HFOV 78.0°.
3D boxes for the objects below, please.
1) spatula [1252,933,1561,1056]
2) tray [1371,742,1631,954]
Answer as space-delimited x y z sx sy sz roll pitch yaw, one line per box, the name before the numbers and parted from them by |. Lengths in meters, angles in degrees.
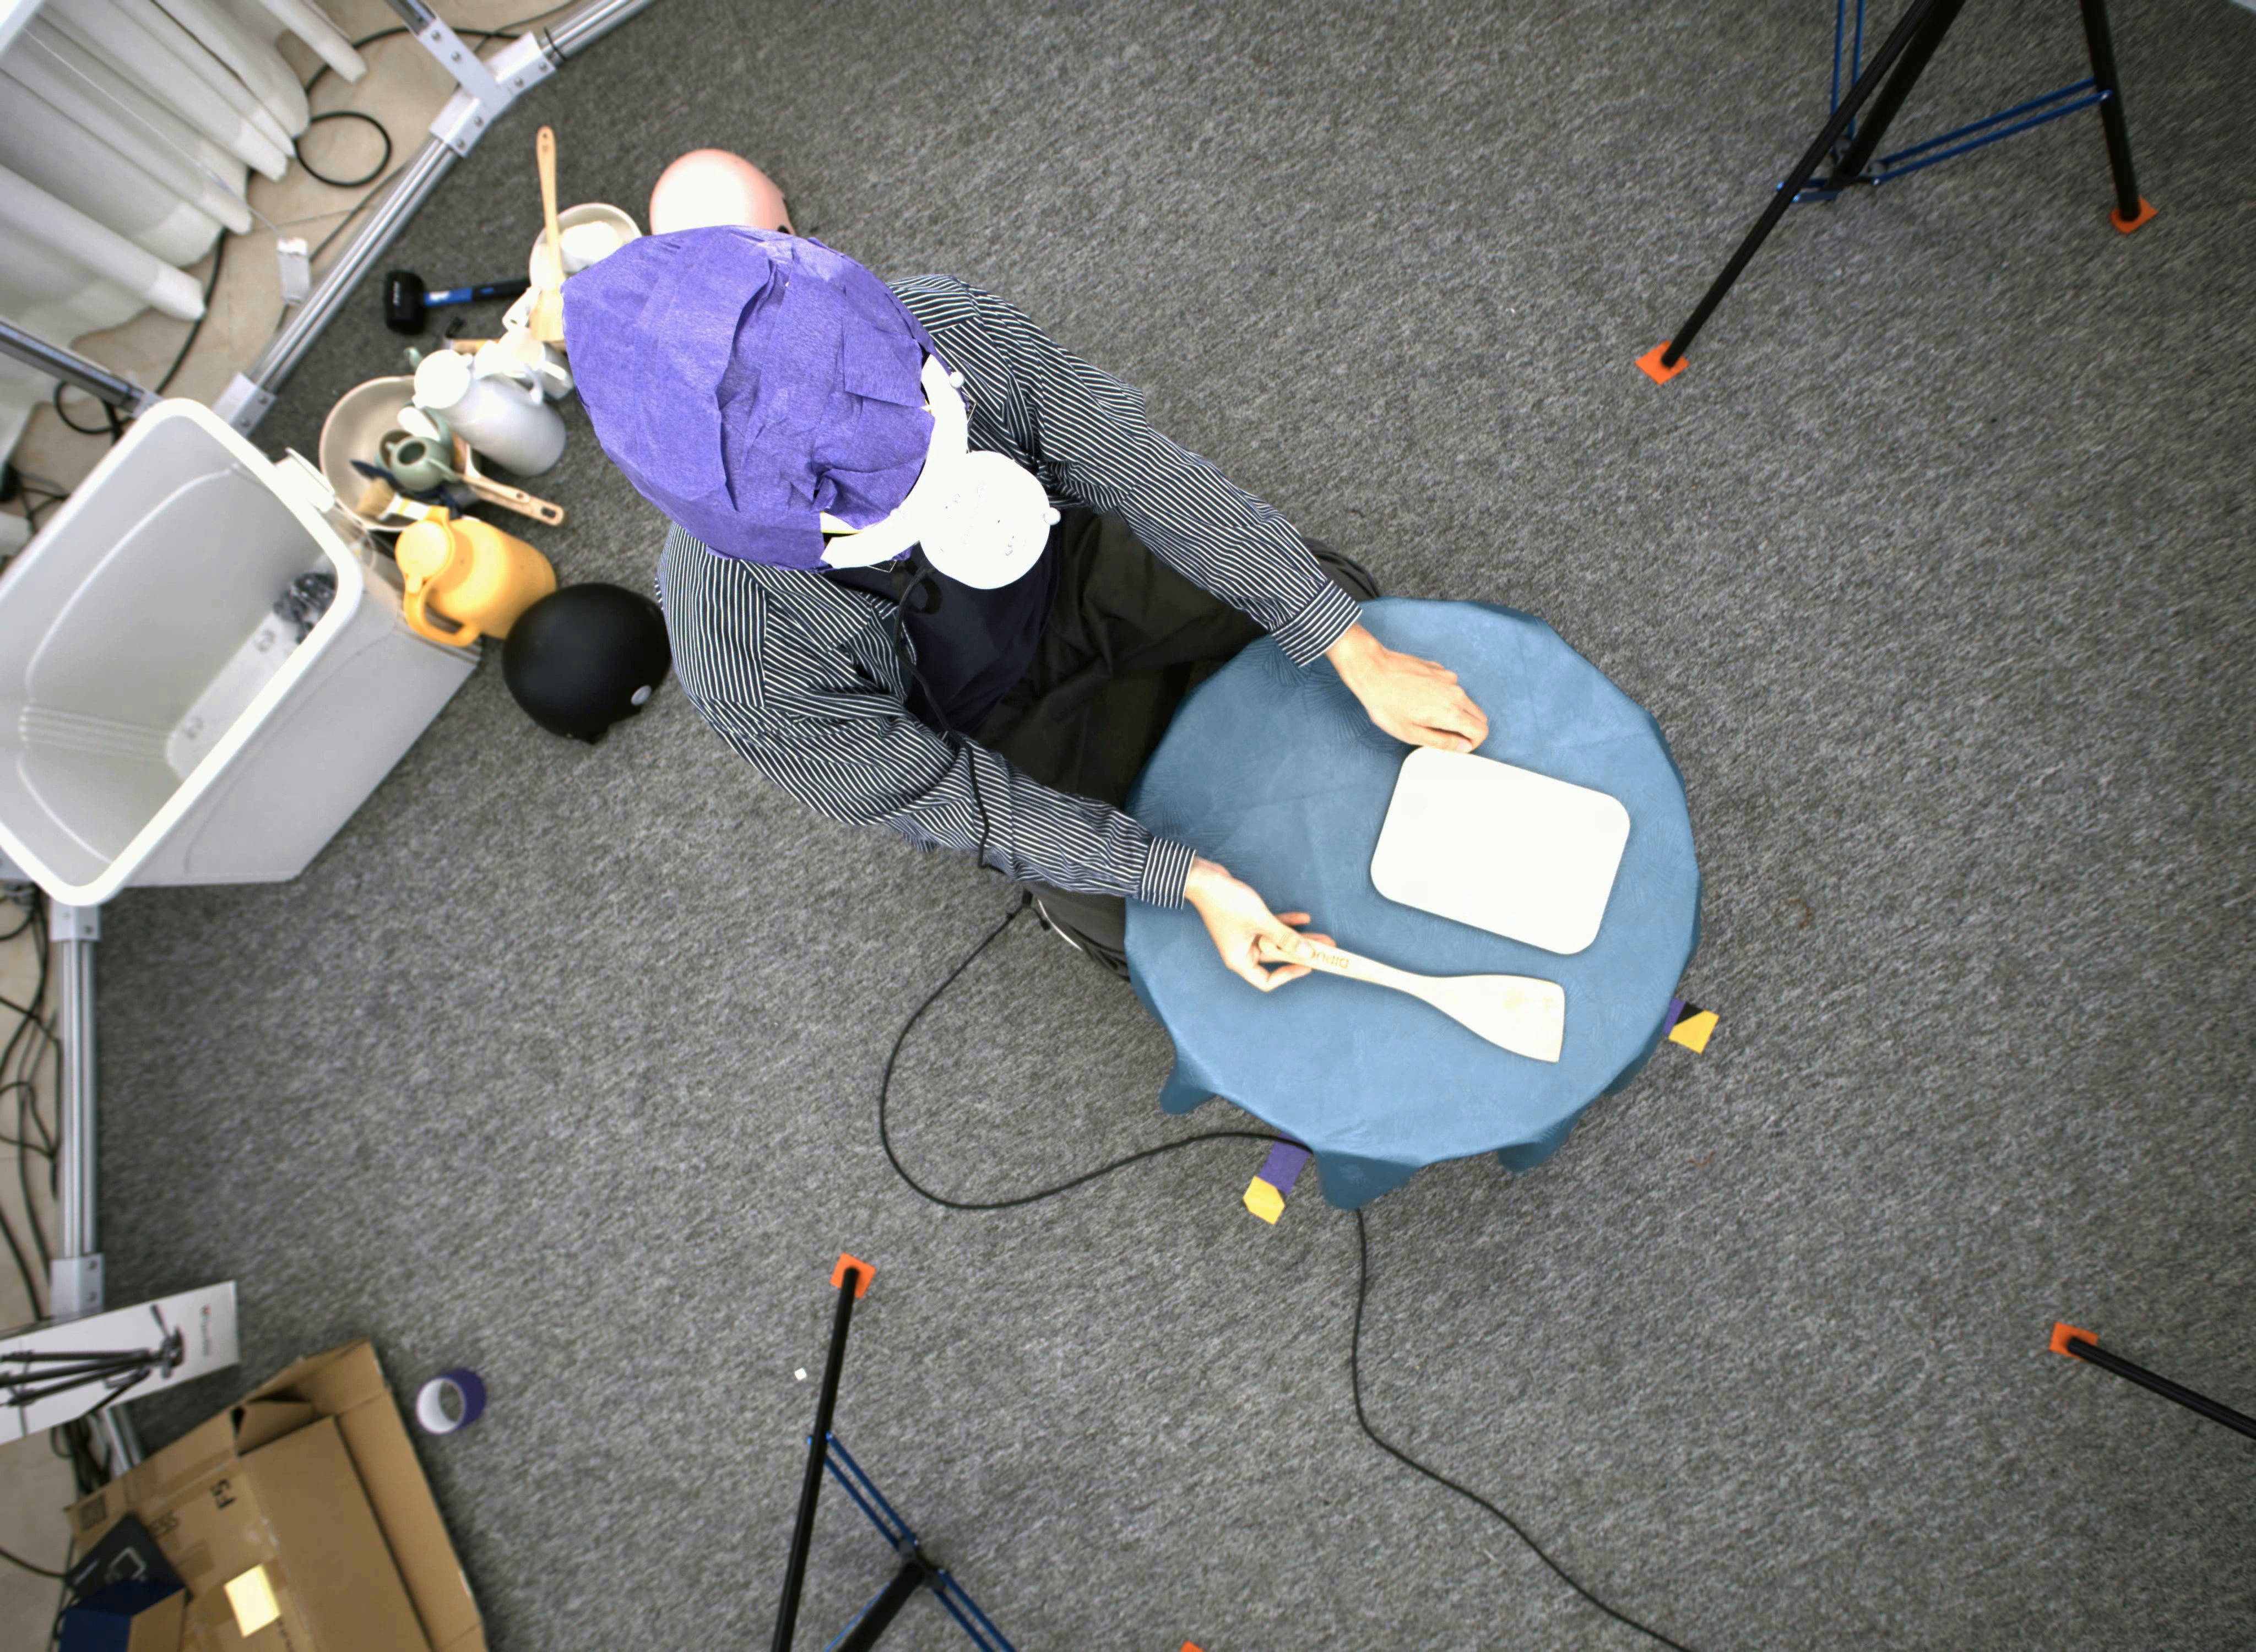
spatula | 0.287 0.157 1.412 0.328 0.016 0.080 14 89 1
tray | 0.383 0.020 1.418 0.240 0.017 0.171 18 93 10
